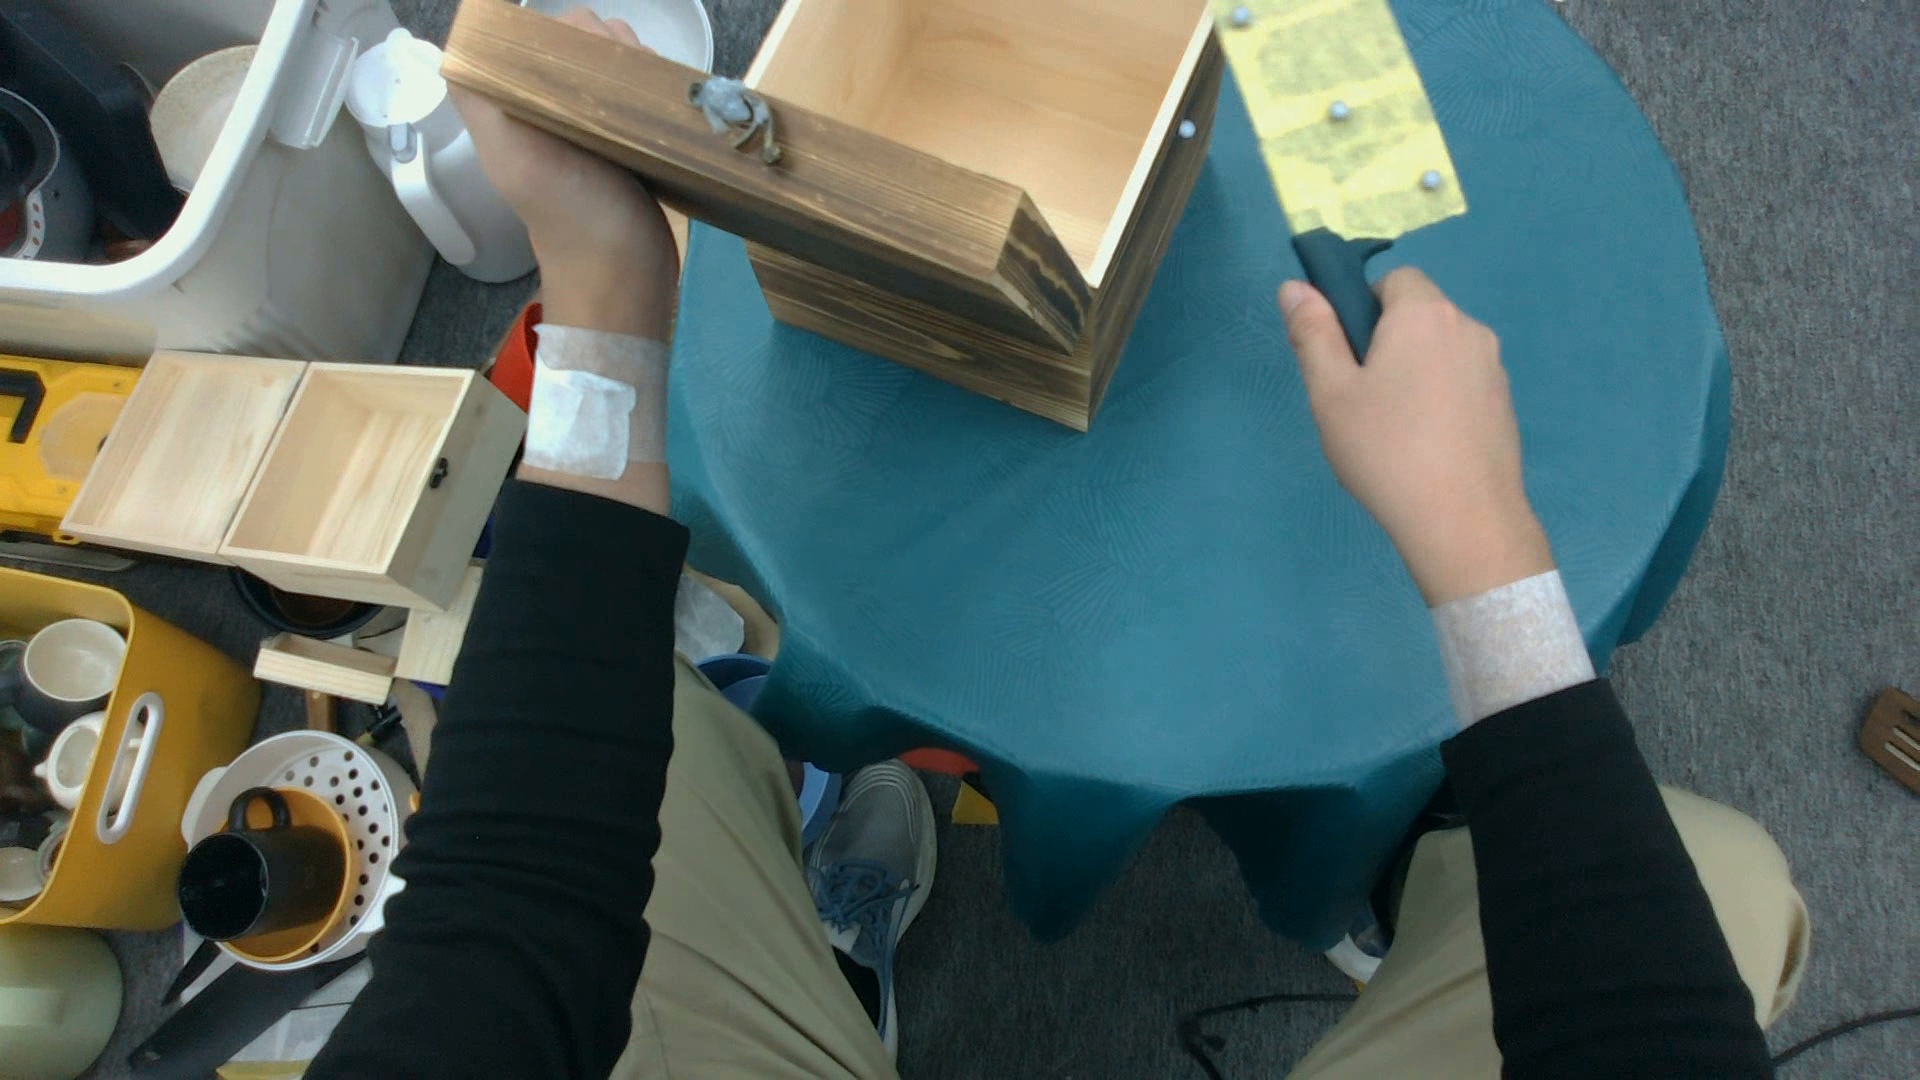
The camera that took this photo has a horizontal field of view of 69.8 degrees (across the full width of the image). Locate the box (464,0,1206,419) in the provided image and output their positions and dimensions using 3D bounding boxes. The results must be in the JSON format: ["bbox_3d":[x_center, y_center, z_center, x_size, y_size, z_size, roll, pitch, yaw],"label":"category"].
[{"bbox_3d":[-0.018,-0.197,0.647,0.208,0.374,0.323,19,75,8],"label":"box"}]

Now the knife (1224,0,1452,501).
[{"bbox_3d":[0.177,-0.160,0.620,0.081,0.027,0.290,-10,81,8],"label":"knife"}]
